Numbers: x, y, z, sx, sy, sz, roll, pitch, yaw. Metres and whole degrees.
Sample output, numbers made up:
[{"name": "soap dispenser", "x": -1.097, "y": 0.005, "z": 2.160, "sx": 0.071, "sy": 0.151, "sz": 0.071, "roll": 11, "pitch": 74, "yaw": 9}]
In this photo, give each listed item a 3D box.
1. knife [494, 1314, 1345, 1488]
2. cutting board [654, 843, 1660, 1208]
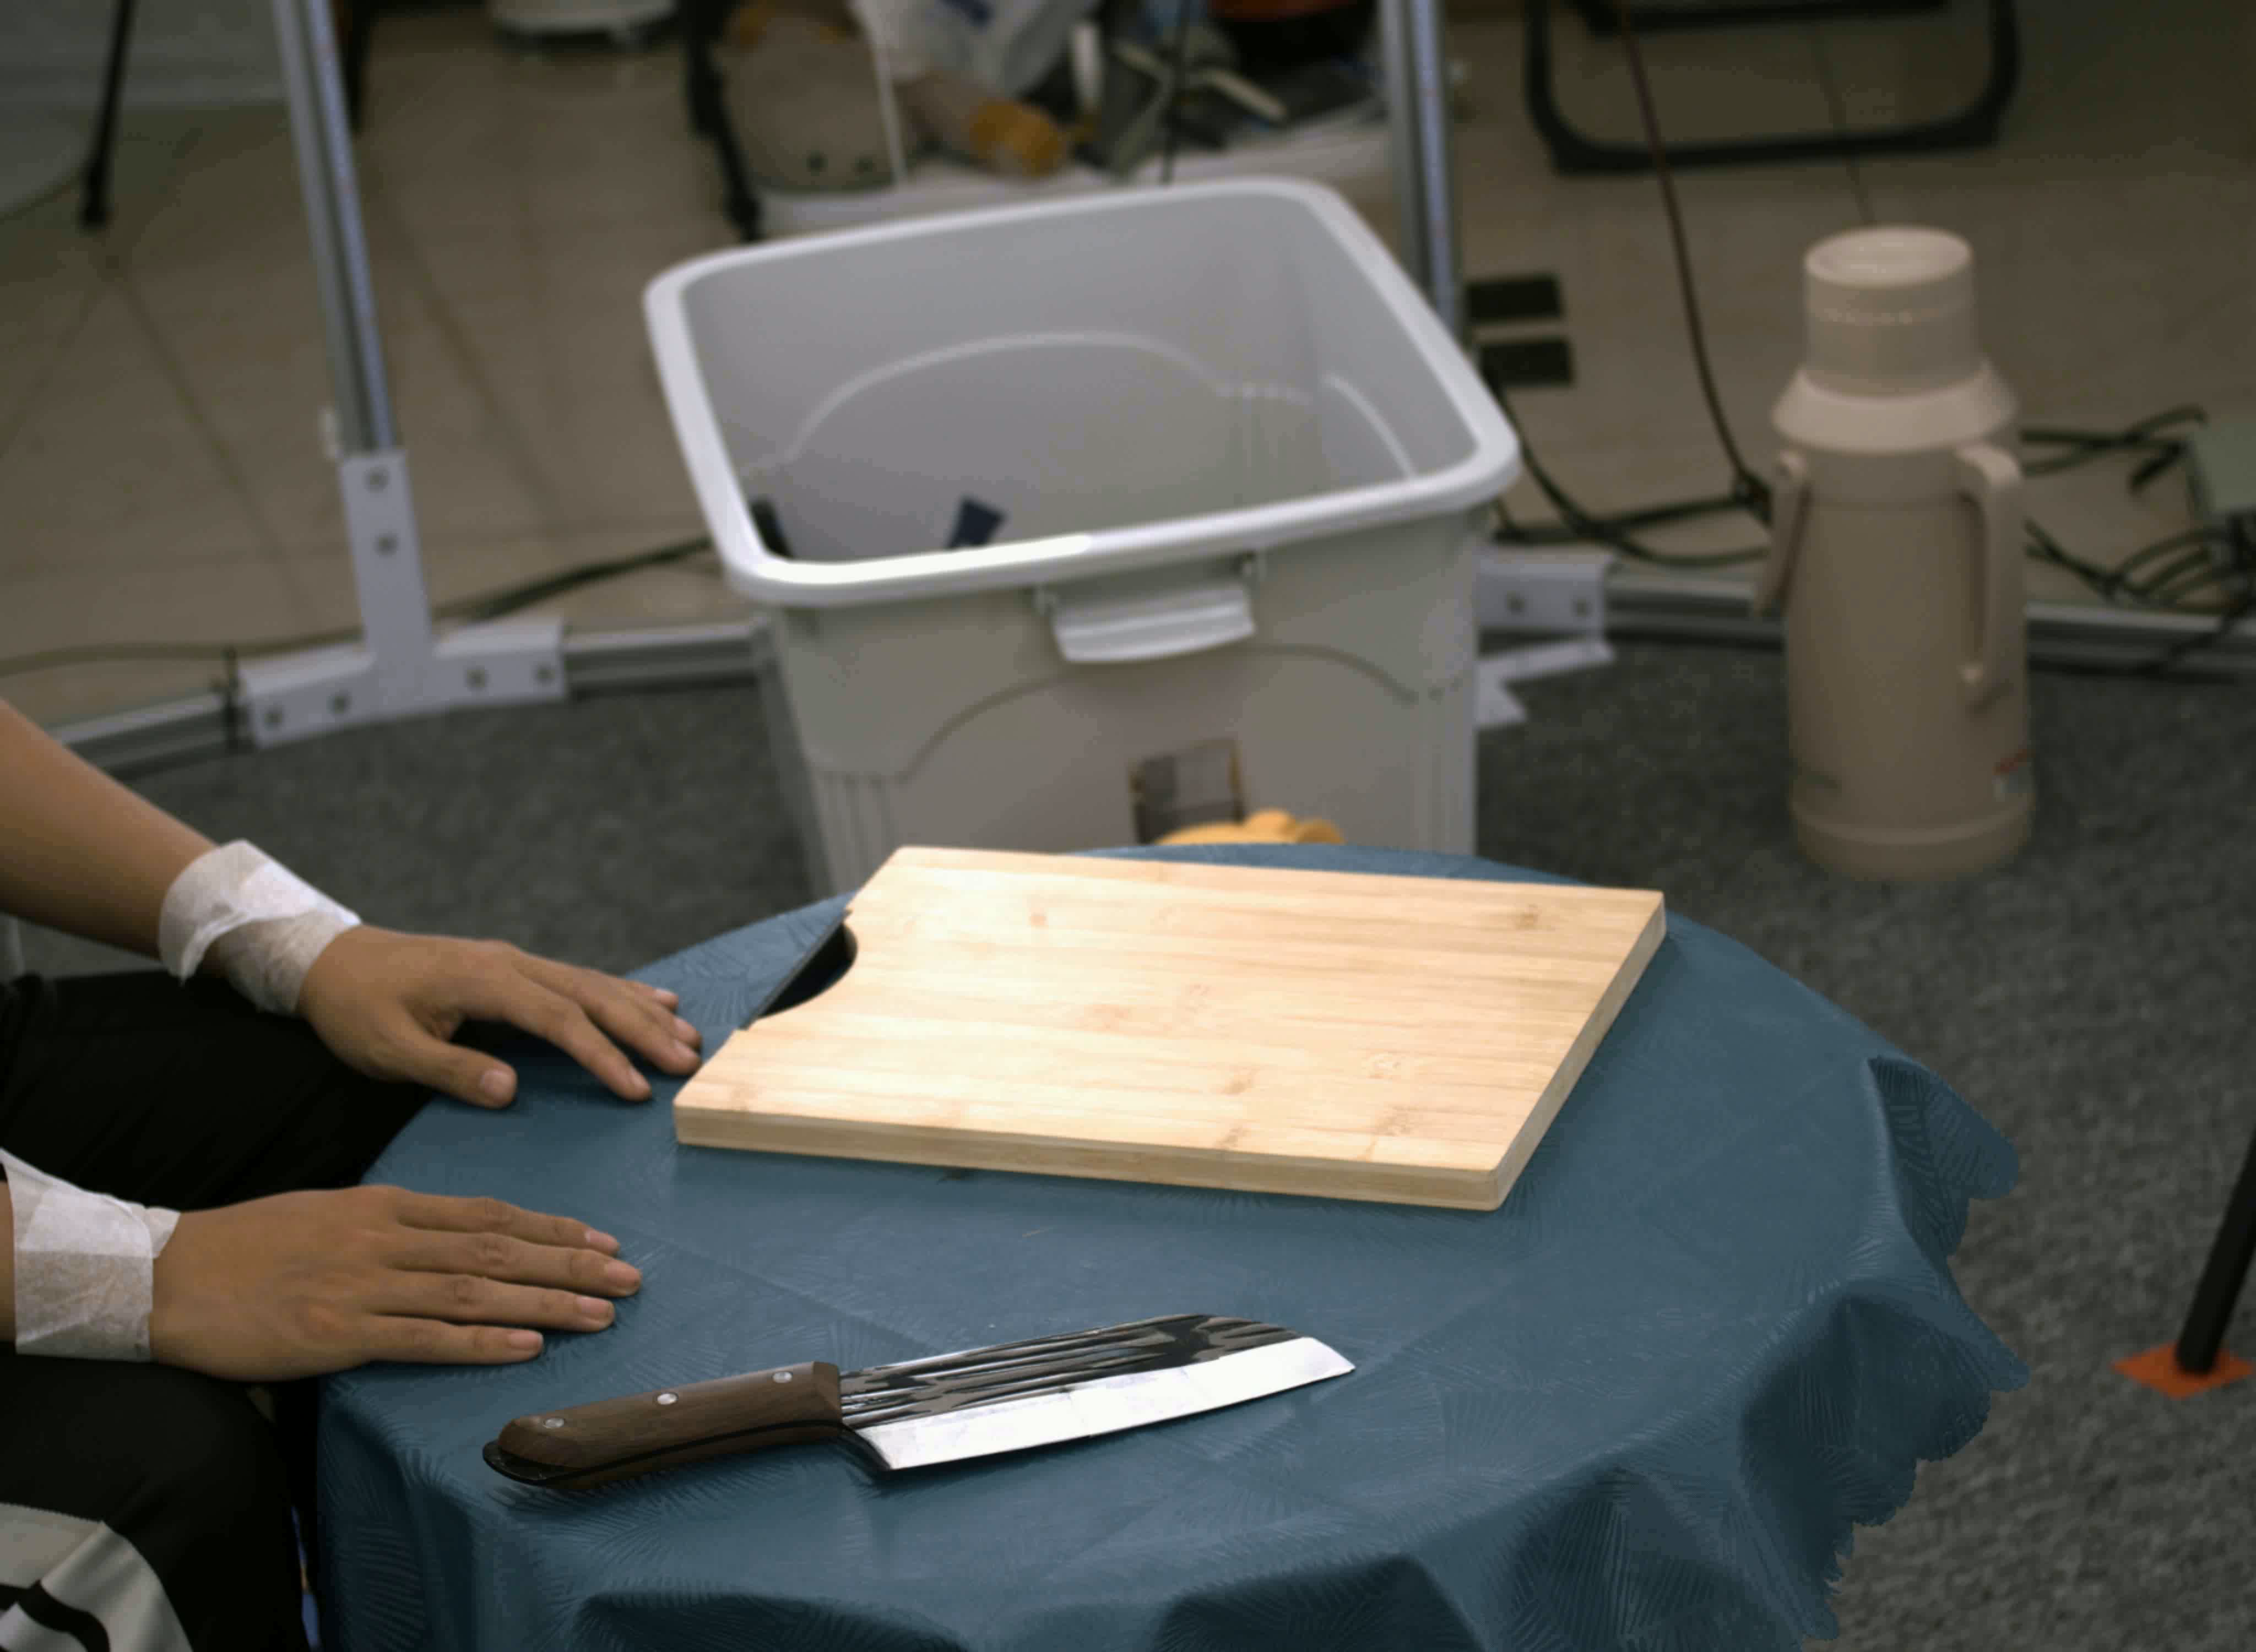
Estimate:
[{"name": "knife", "x": -0.073, "y": 0.205, "z": 2.004, "sx": 0.299, "sy": 0.024, "sz": 0.067, "roll": -8, "pitch": 27, "yaw": -11}, {"name": "cutting board", "x": 0.015, "y": 0.075, "z": 2.265, "sx": 0.348, "sy": 0.024, "sz": 0.247, "roll": 3, "pitch": 26, "yaw": 20}]
